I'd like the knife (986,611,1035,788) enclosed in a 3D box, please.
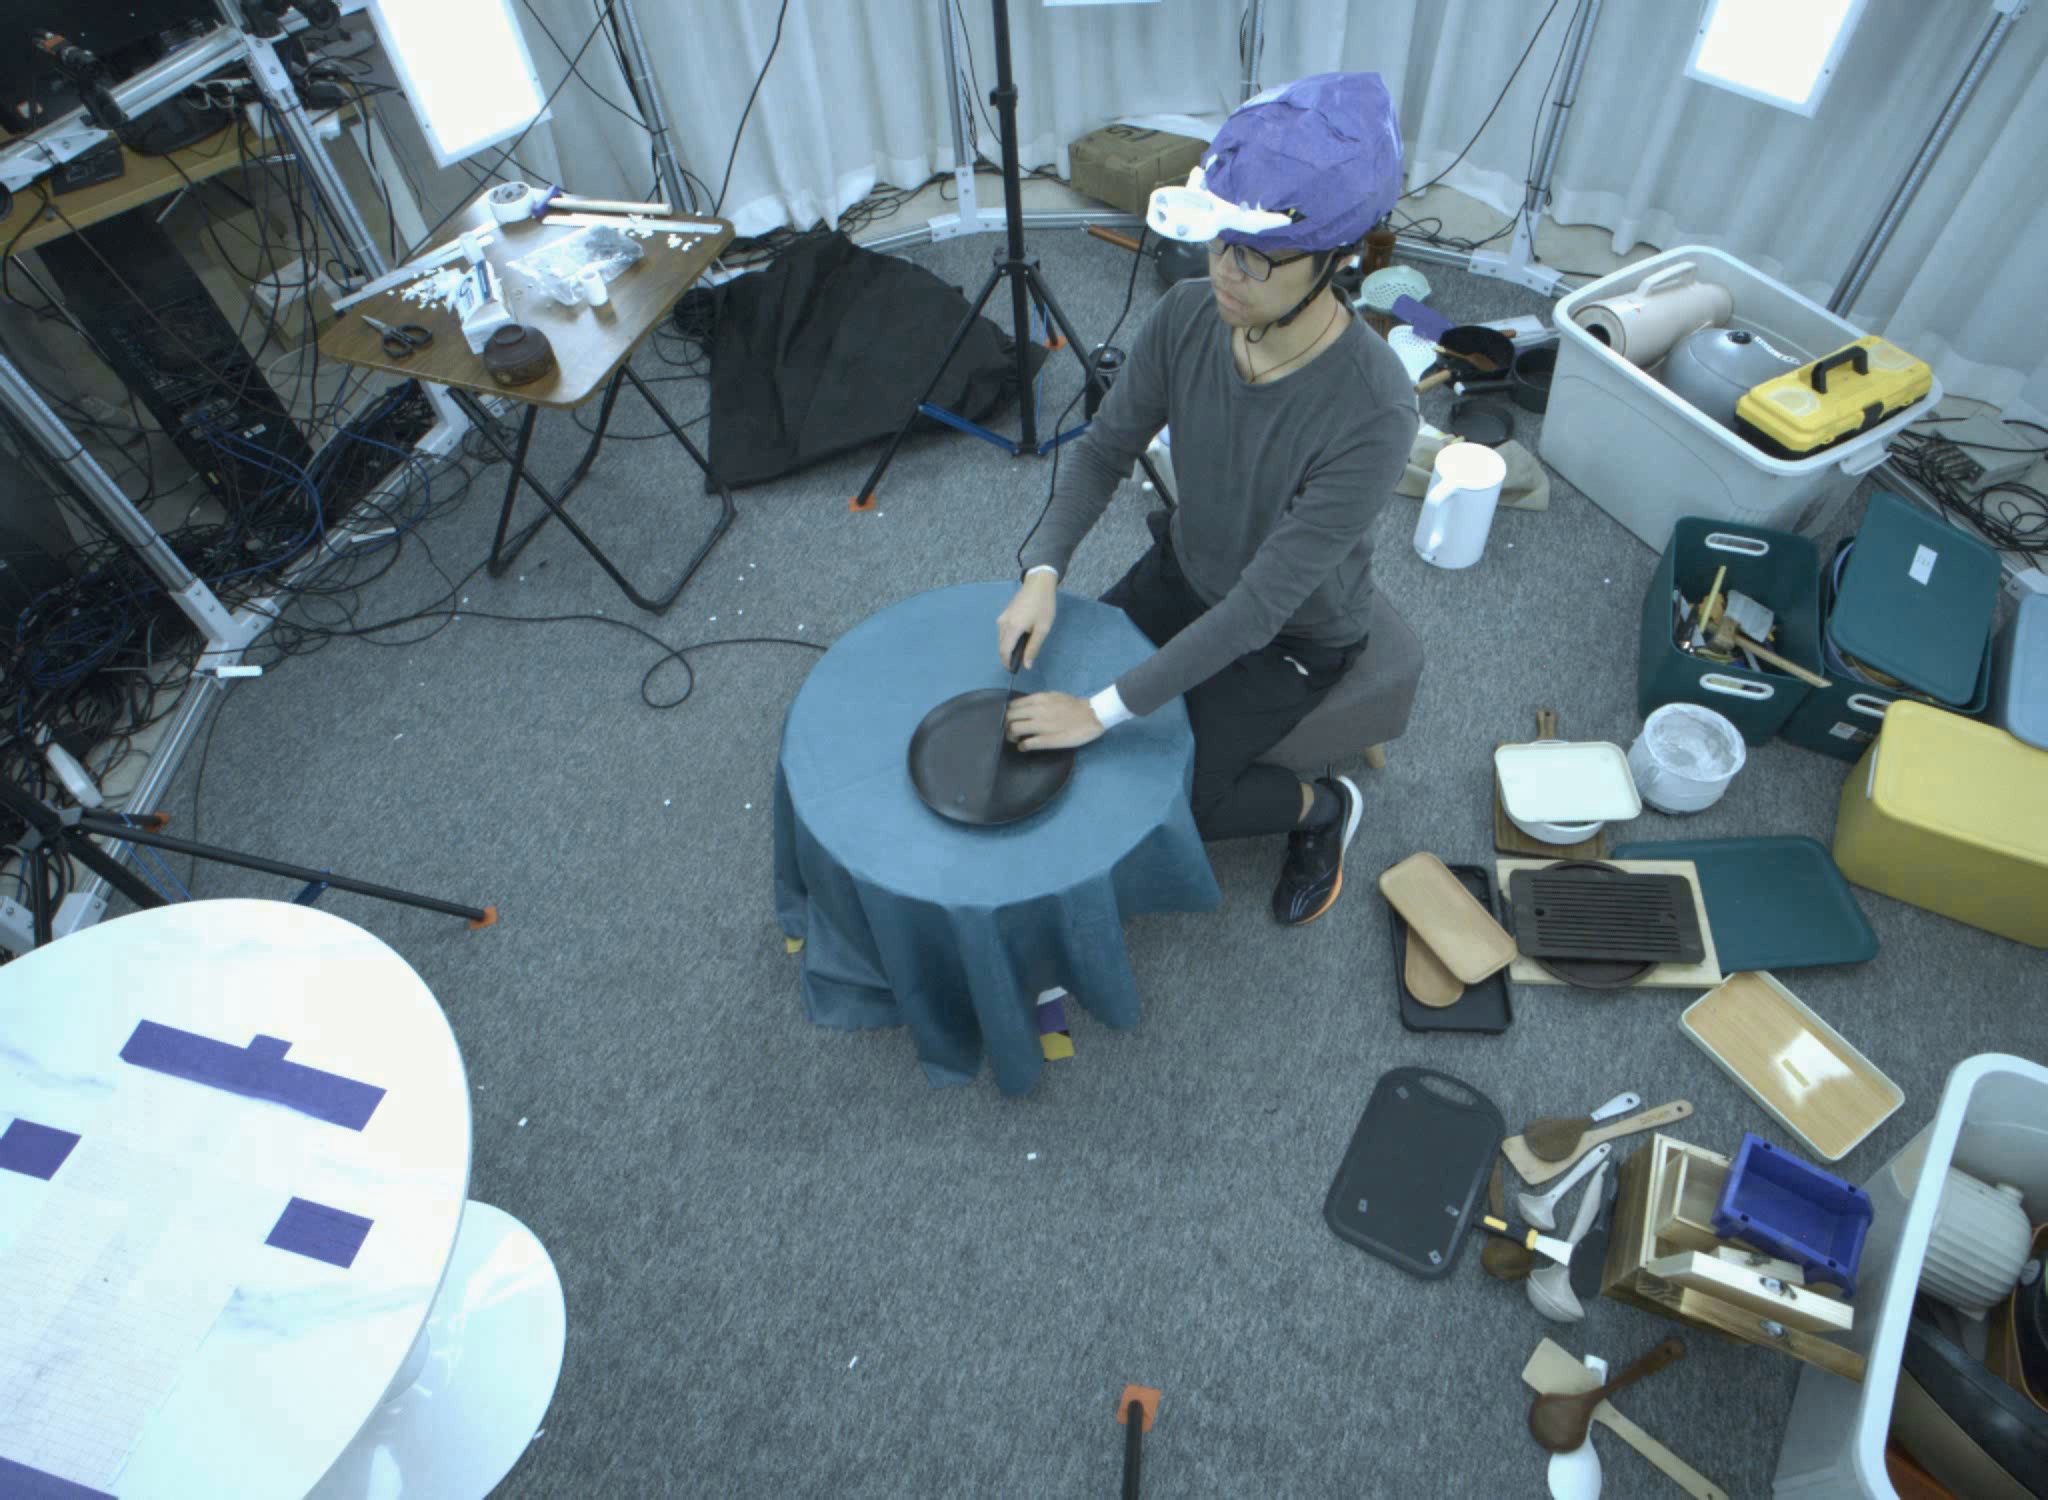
[{"bbox_3d":[-0.022,-0.081,1.781,0.021,0.081,0.300,13,59,0],"label":"knife"}]

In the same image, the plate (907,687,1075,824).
[{"bbox_3d":[-0.048,0.009,1.775,0.244,0.023,0.242,0,55,2],"label":"plate"}]
